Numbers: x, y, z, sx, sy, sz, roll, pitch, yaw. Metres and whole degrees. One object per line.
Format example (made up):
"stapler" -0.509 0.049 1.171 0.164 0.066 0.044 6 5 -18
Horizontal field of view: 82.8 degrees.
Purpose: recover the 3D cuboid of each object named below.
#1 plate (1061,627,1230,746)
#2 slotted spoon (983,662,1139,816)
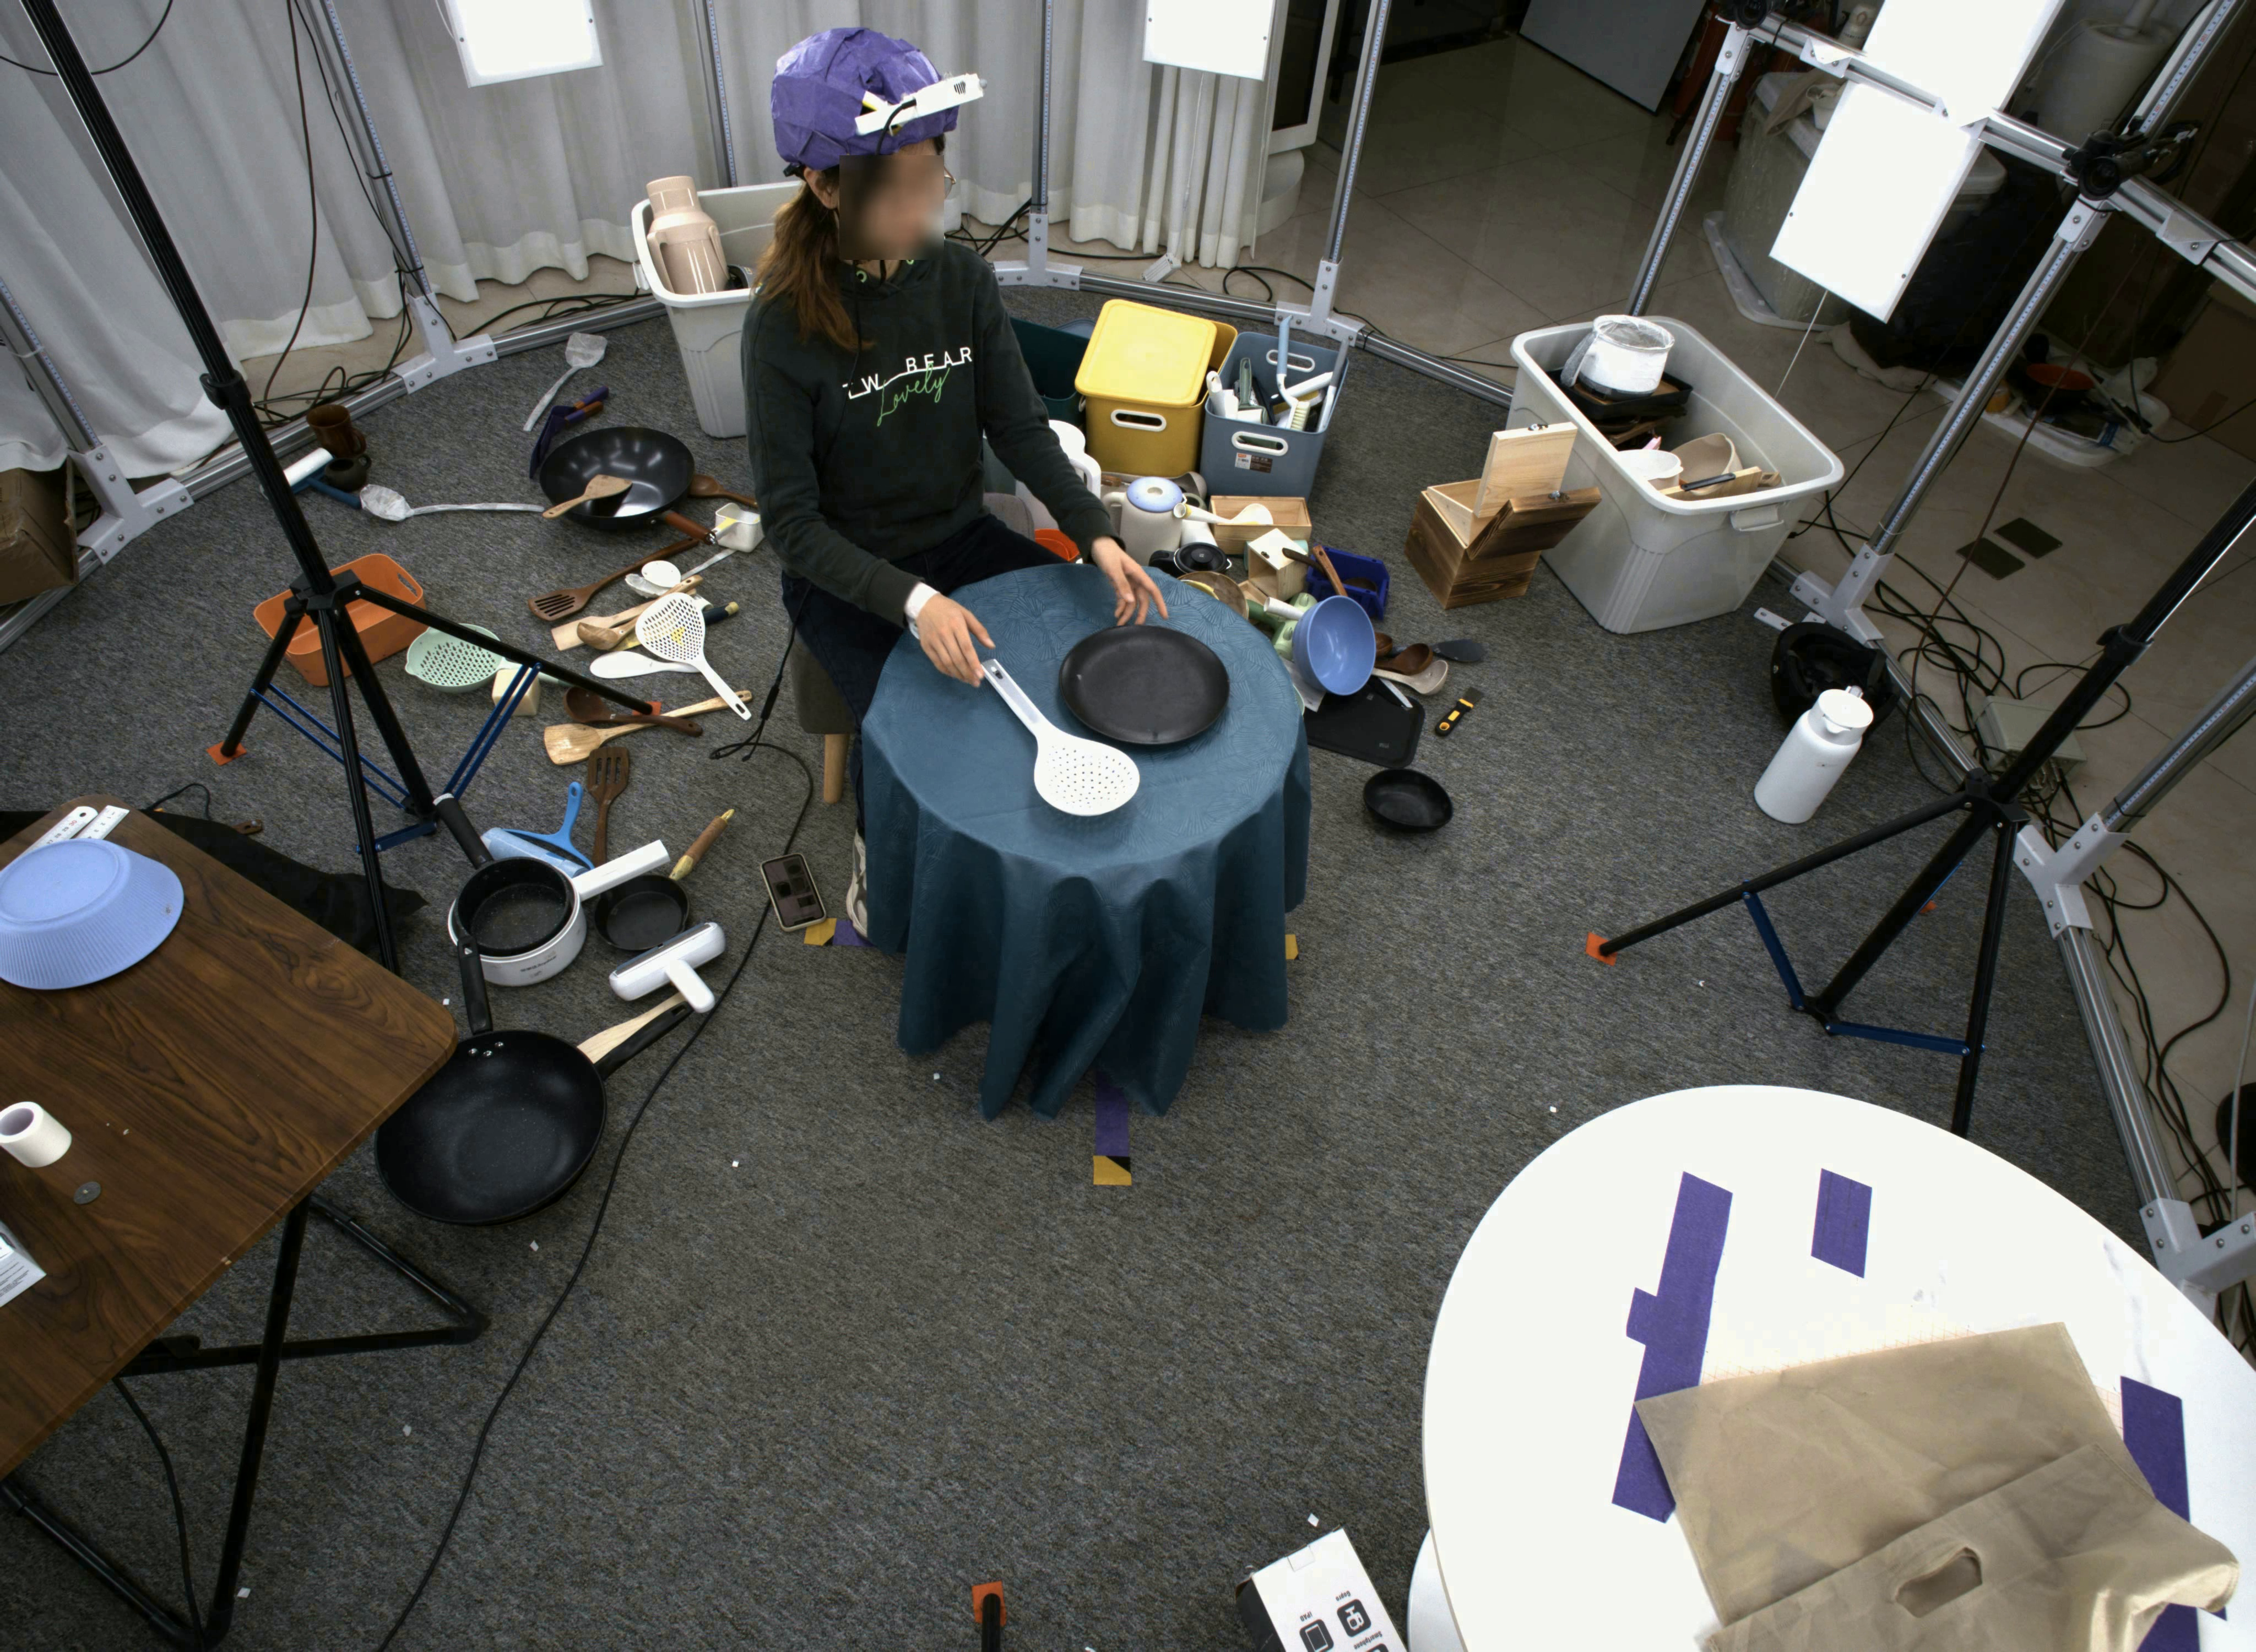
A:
"plate" 0.025 -0.198 1.843 0.244 0.023 0.250 2 49 -2
"slotted spoon" -0.110 -0.124 1.755 0.136 0.044 0.357 -21 52 -23
